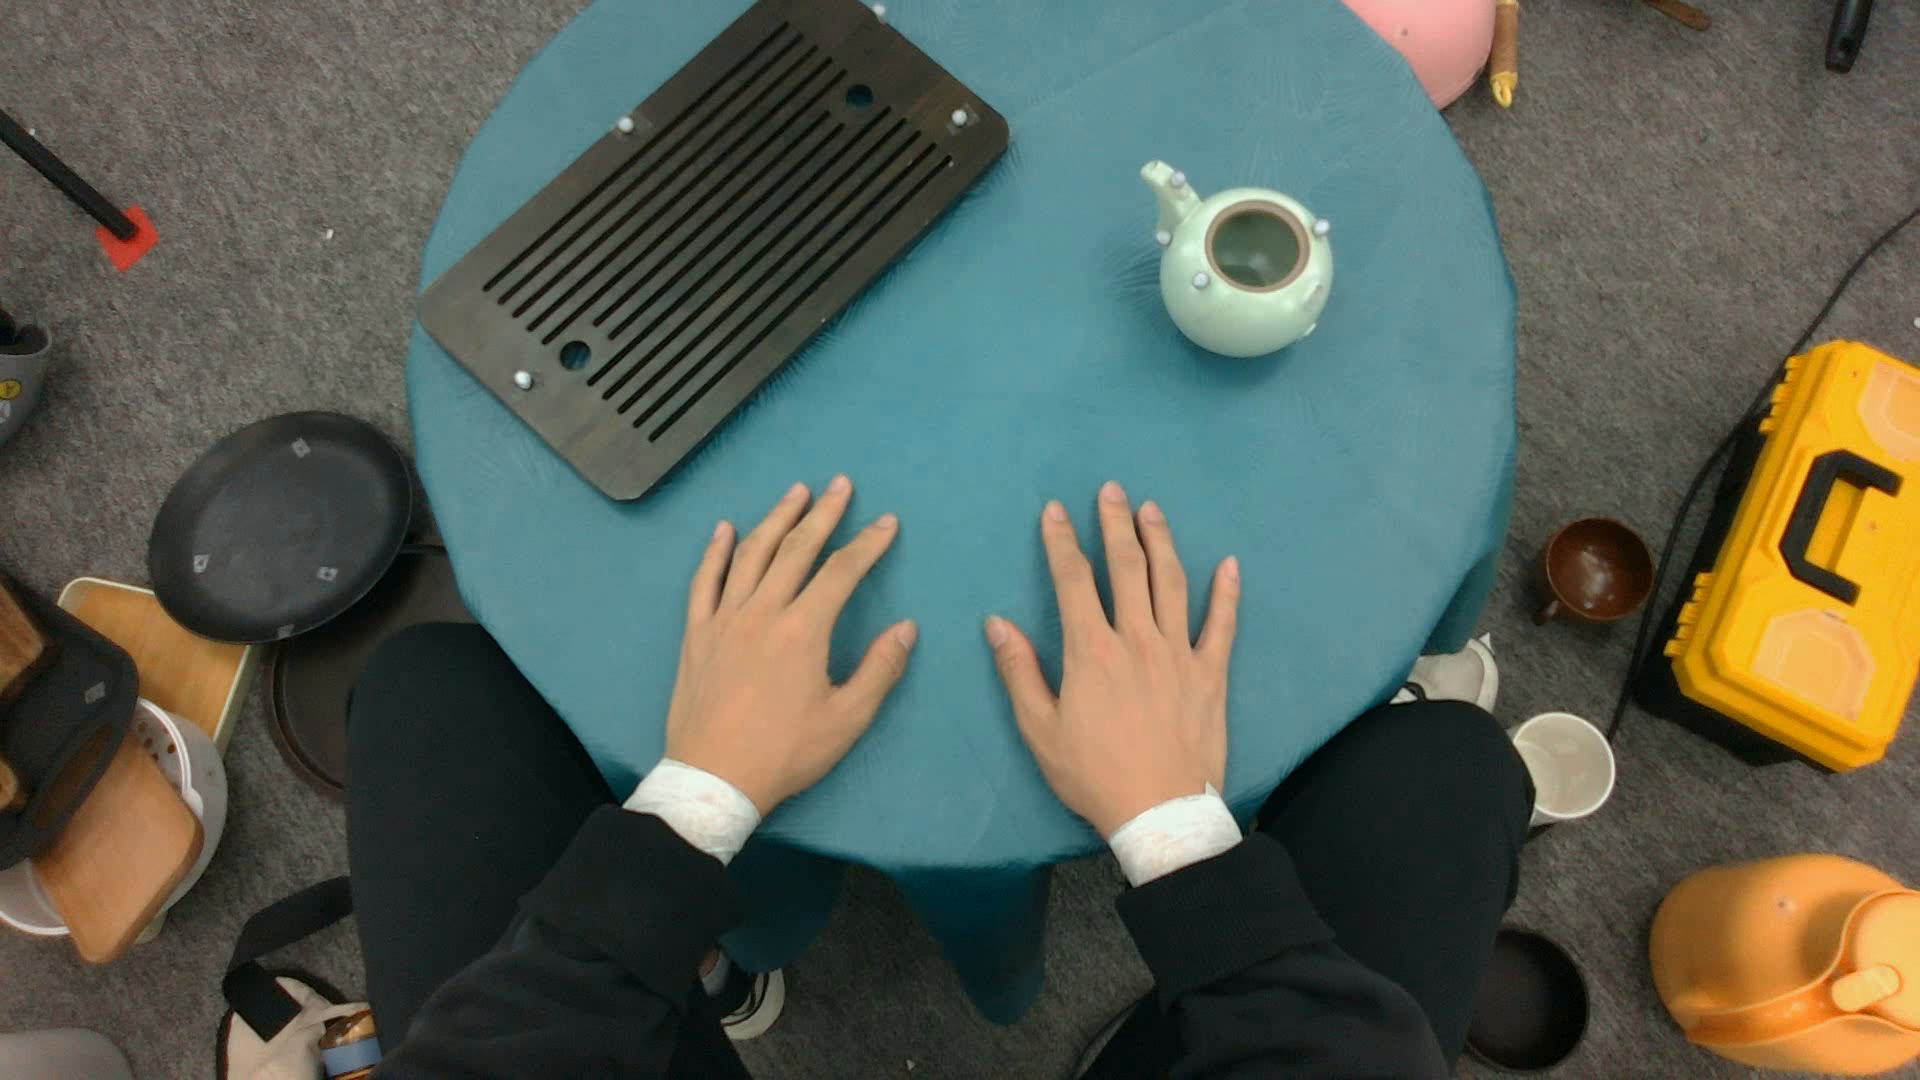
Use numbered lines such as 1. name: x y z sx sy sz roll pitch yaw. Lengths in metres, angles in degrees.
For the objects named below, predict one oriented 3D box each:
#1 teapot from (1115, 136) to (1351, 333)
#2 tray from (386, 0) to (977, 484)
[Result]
1. teapot: 0.137 -0.152 0.719 0.144 0.074 0.088 39 77 12
2. tray: -0.148 -0.185 0.756 0.170 0.018 0.306 41 77 11
